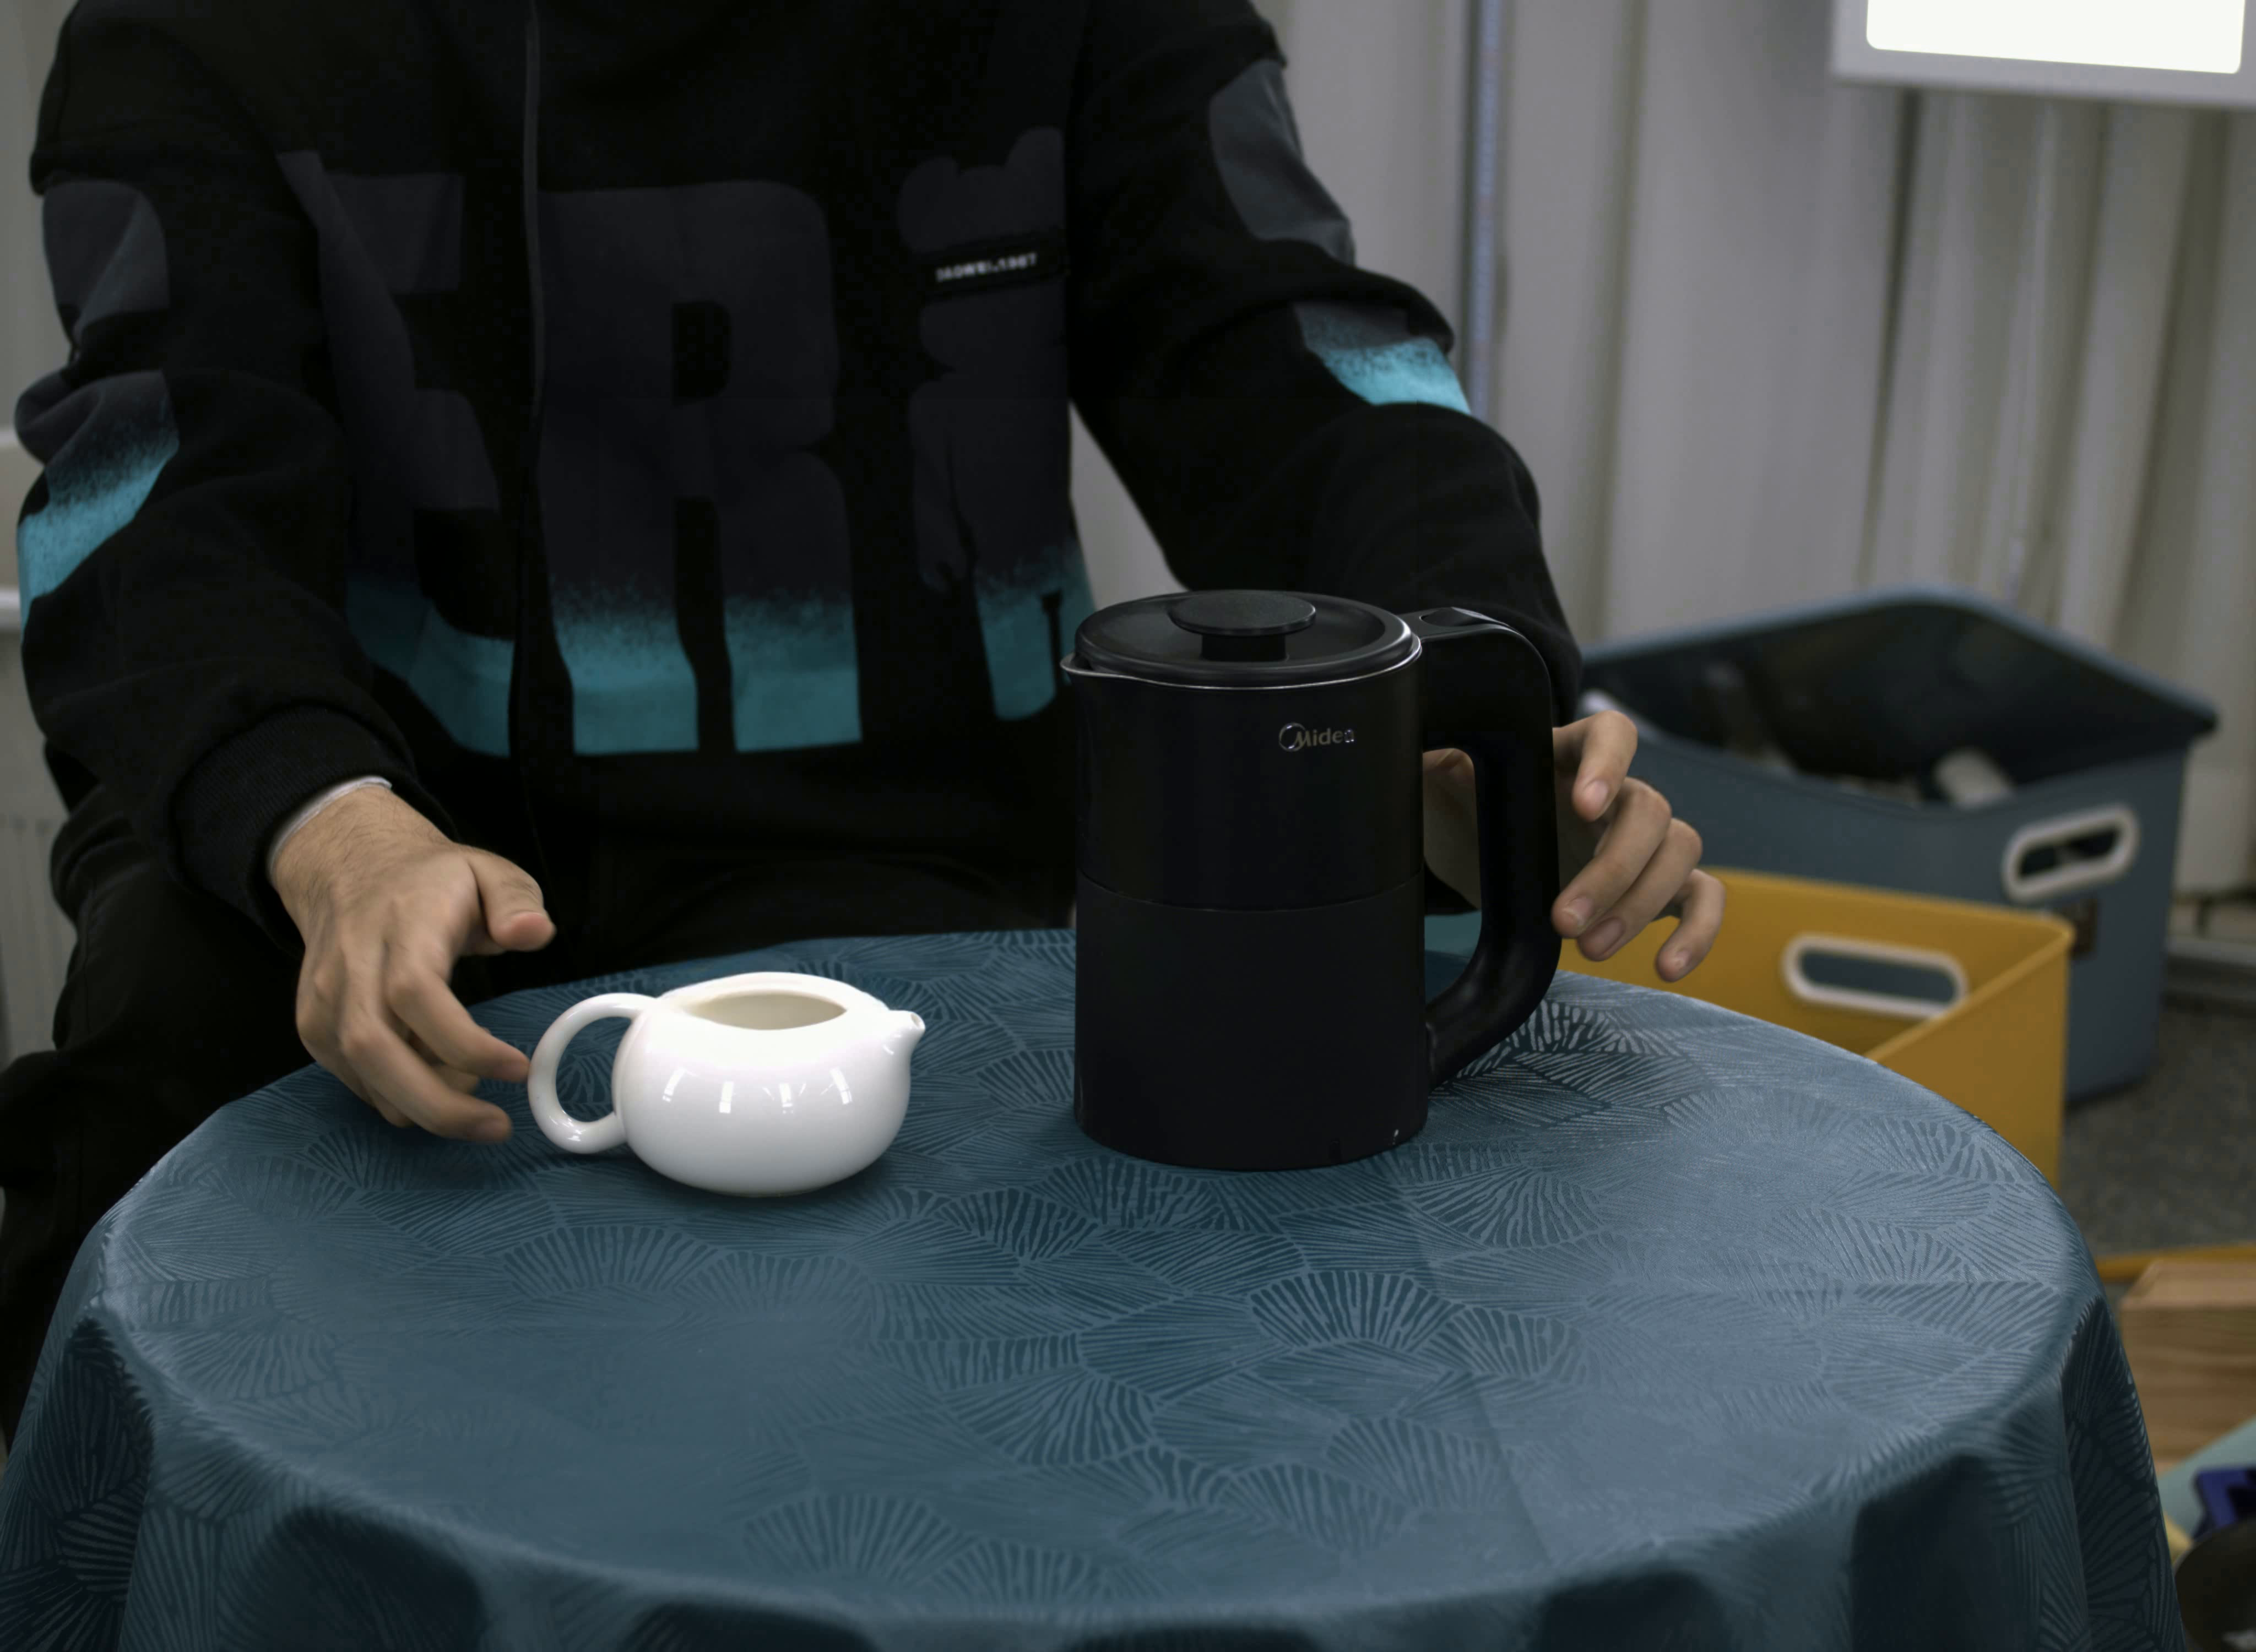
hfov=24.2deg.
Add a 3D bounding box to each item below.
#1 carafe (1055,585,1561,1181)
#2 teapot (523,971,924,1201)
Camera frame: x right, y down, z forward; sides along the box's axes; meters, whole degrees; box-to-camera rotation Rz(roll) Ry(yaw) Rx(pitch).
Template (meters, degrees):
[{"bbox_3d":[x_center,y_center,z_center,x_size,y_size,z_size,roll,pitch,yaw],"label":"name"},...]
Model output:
[{"bbox_3d":[0.058,0.008,1.676,0.172,0.175,0.113,-11,18,-26],"label":"carafe"},{"bbox_3d":[-0.125,0.080,1.630,0.127,0.057,0.093,1,19,3],"label":"teapot"}]
